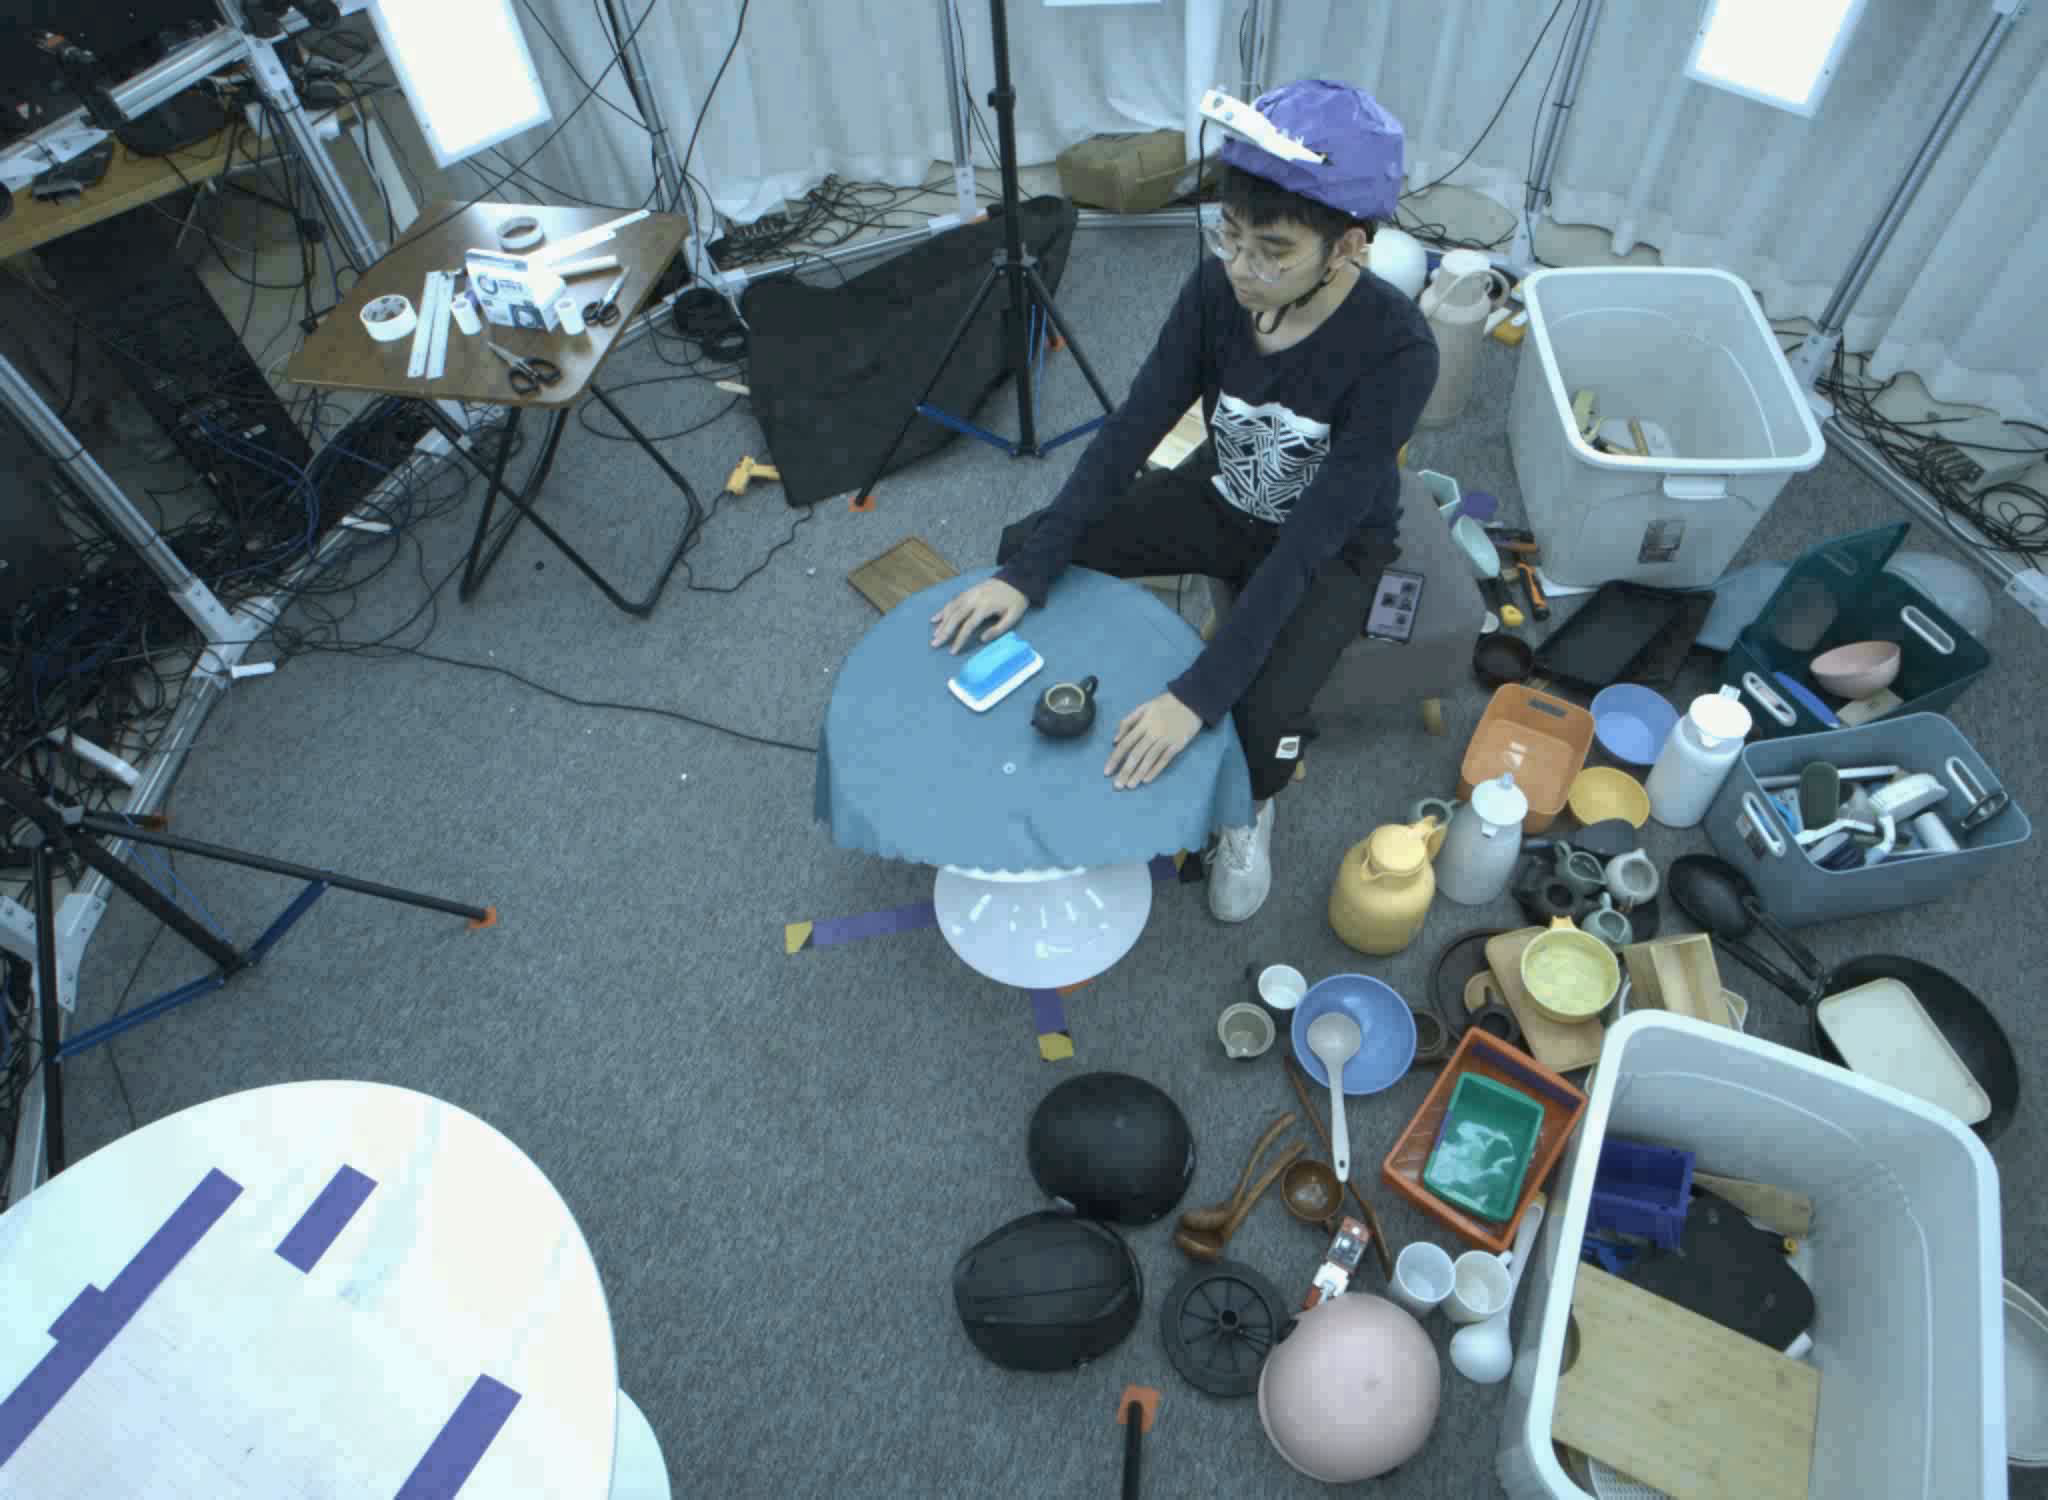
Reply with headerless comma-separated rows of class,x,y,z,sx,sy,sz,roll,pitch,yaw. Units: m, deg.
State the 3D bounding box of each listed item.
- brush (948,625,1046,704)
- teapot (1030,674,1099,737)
brush,-0.041,-0.135,1.839,0.145,0.056,0.082,-38,65,-18
teapot,0.060,-0.062,1.787,0.134,0.053,0.089,-39,63,-22
